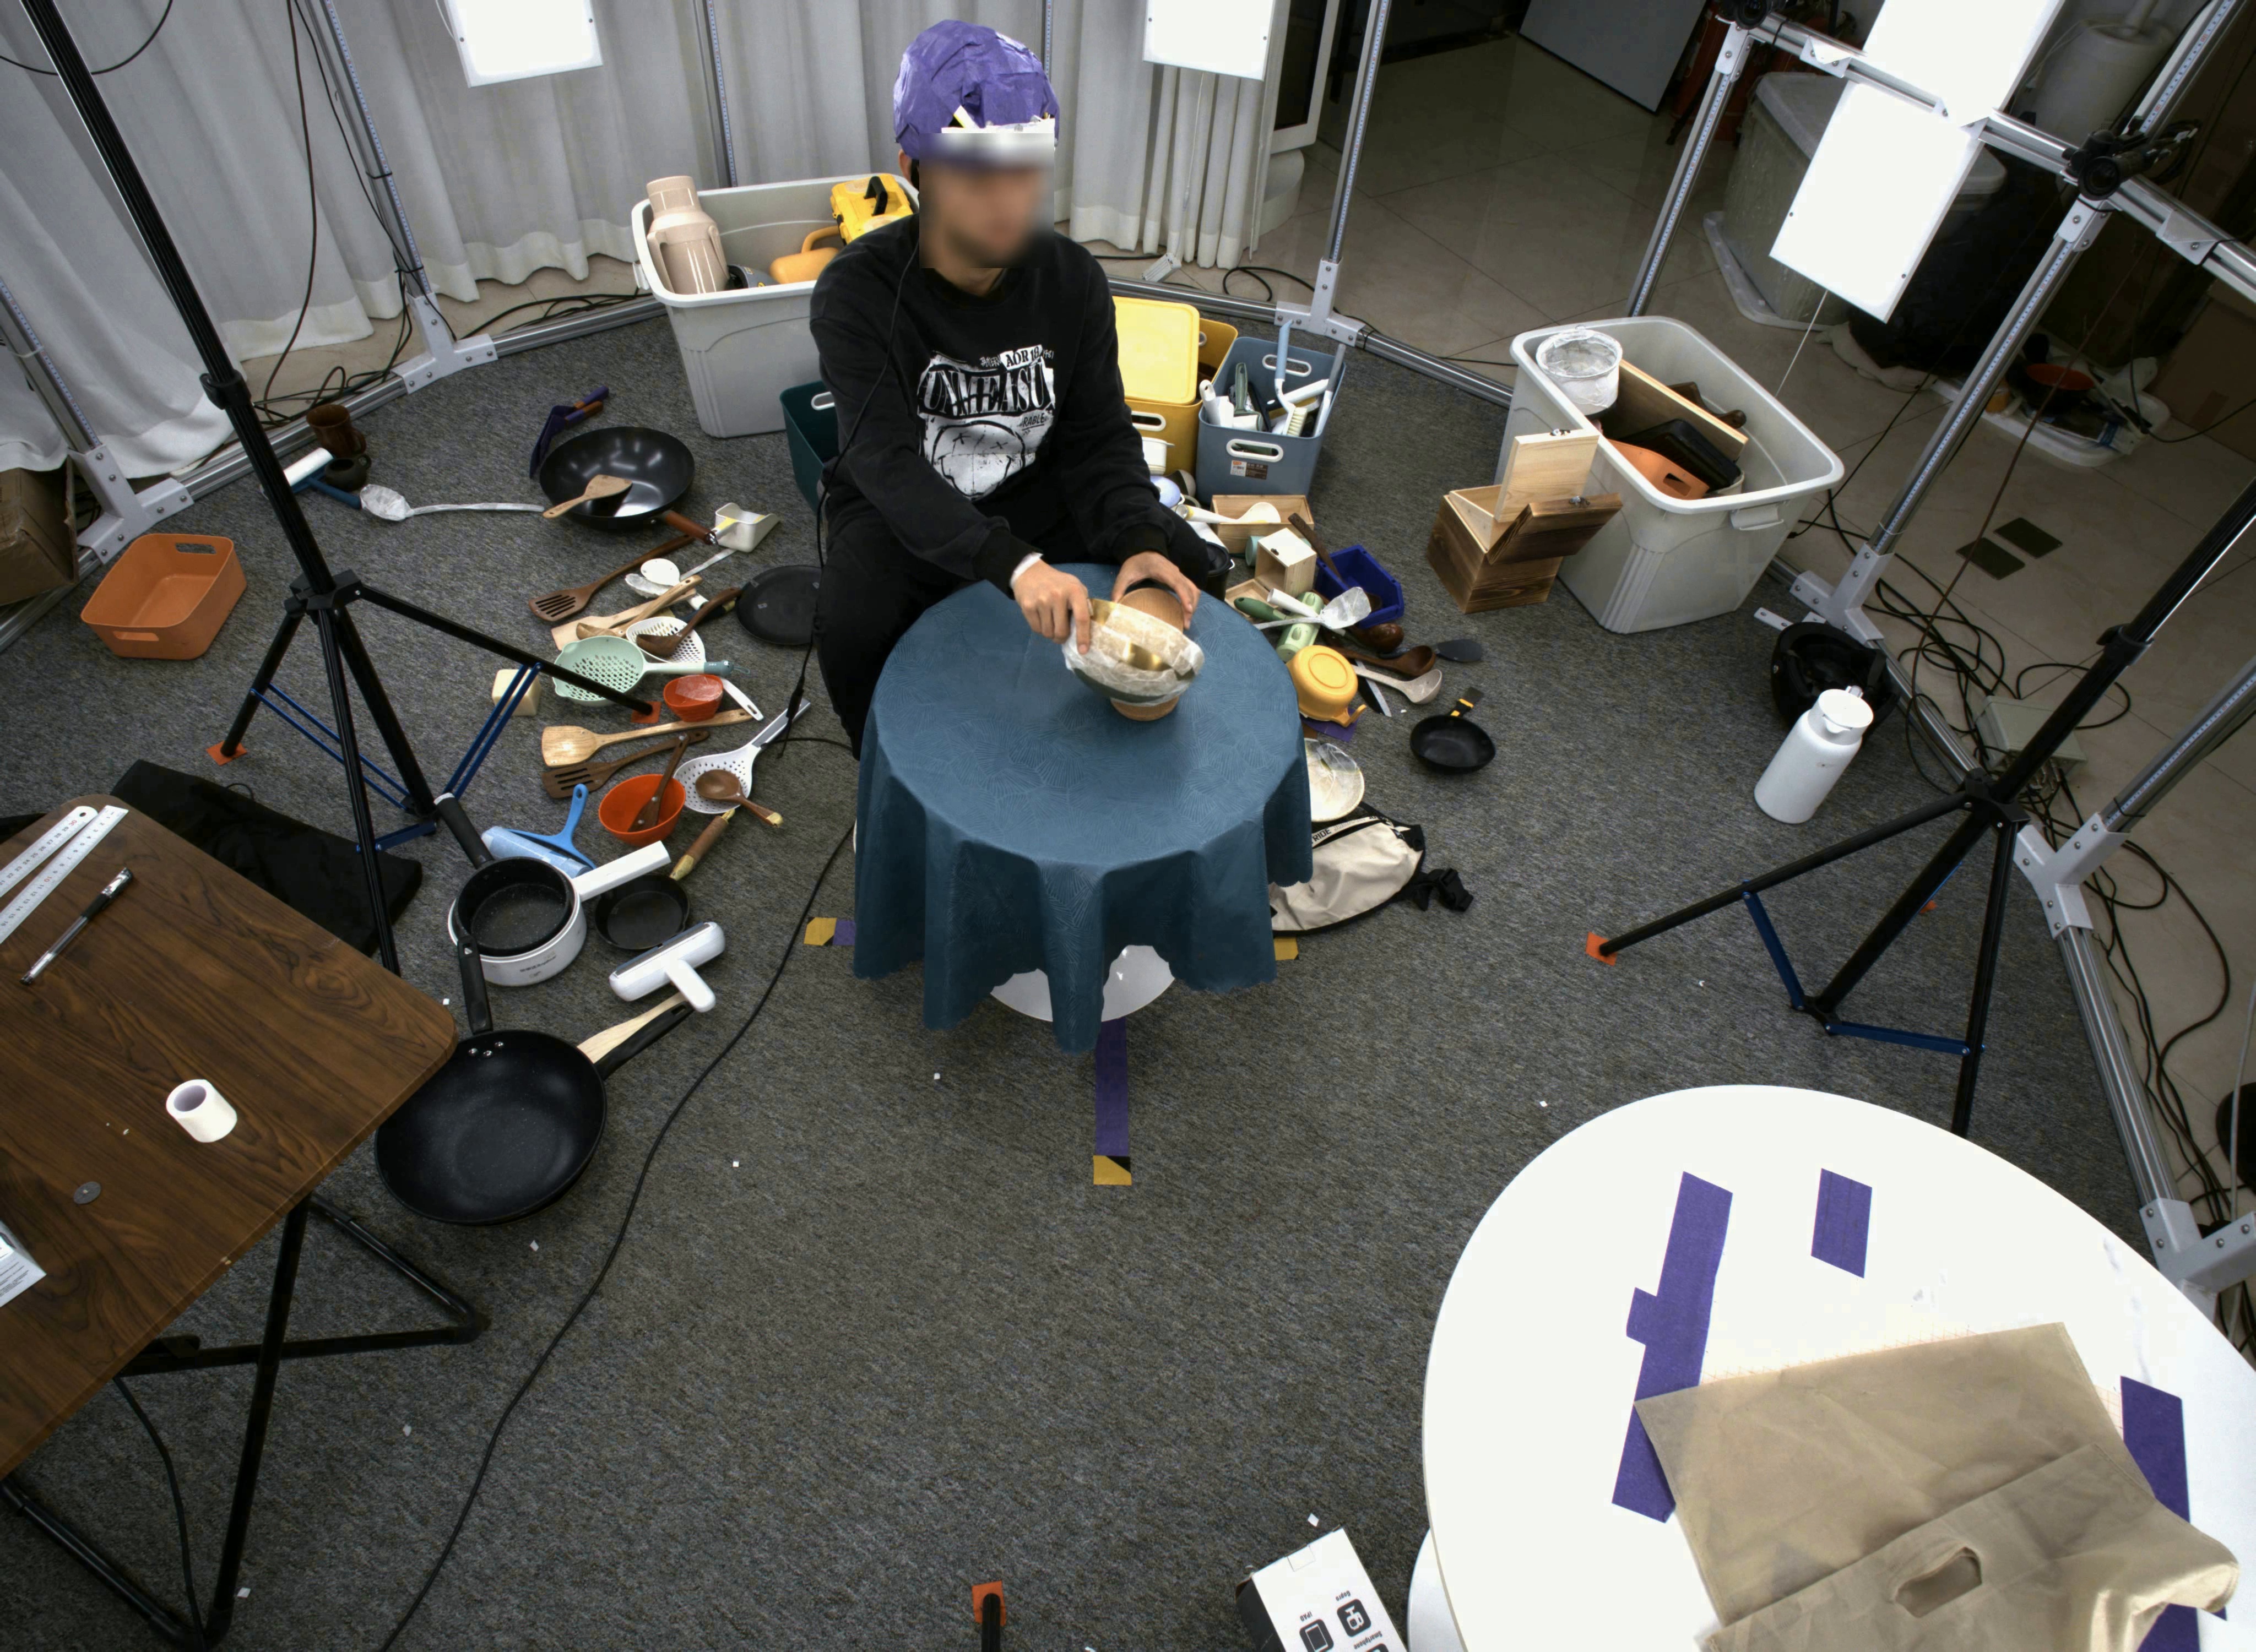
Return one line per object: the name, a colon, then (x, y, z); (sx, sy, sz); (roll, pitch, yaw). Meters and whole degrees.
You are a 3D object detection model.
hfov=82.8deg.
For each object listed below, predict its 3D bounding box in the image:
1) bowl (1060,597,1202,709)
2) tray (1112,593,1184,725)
bowl: (-0.009, -0.217, 1.744); (0.216, 0.212, 0.095); (20, 80, 12)
tray: (0.030, -0.245, 1.866); (0.102, 0.020, 0.236); (1, 60, 4)
